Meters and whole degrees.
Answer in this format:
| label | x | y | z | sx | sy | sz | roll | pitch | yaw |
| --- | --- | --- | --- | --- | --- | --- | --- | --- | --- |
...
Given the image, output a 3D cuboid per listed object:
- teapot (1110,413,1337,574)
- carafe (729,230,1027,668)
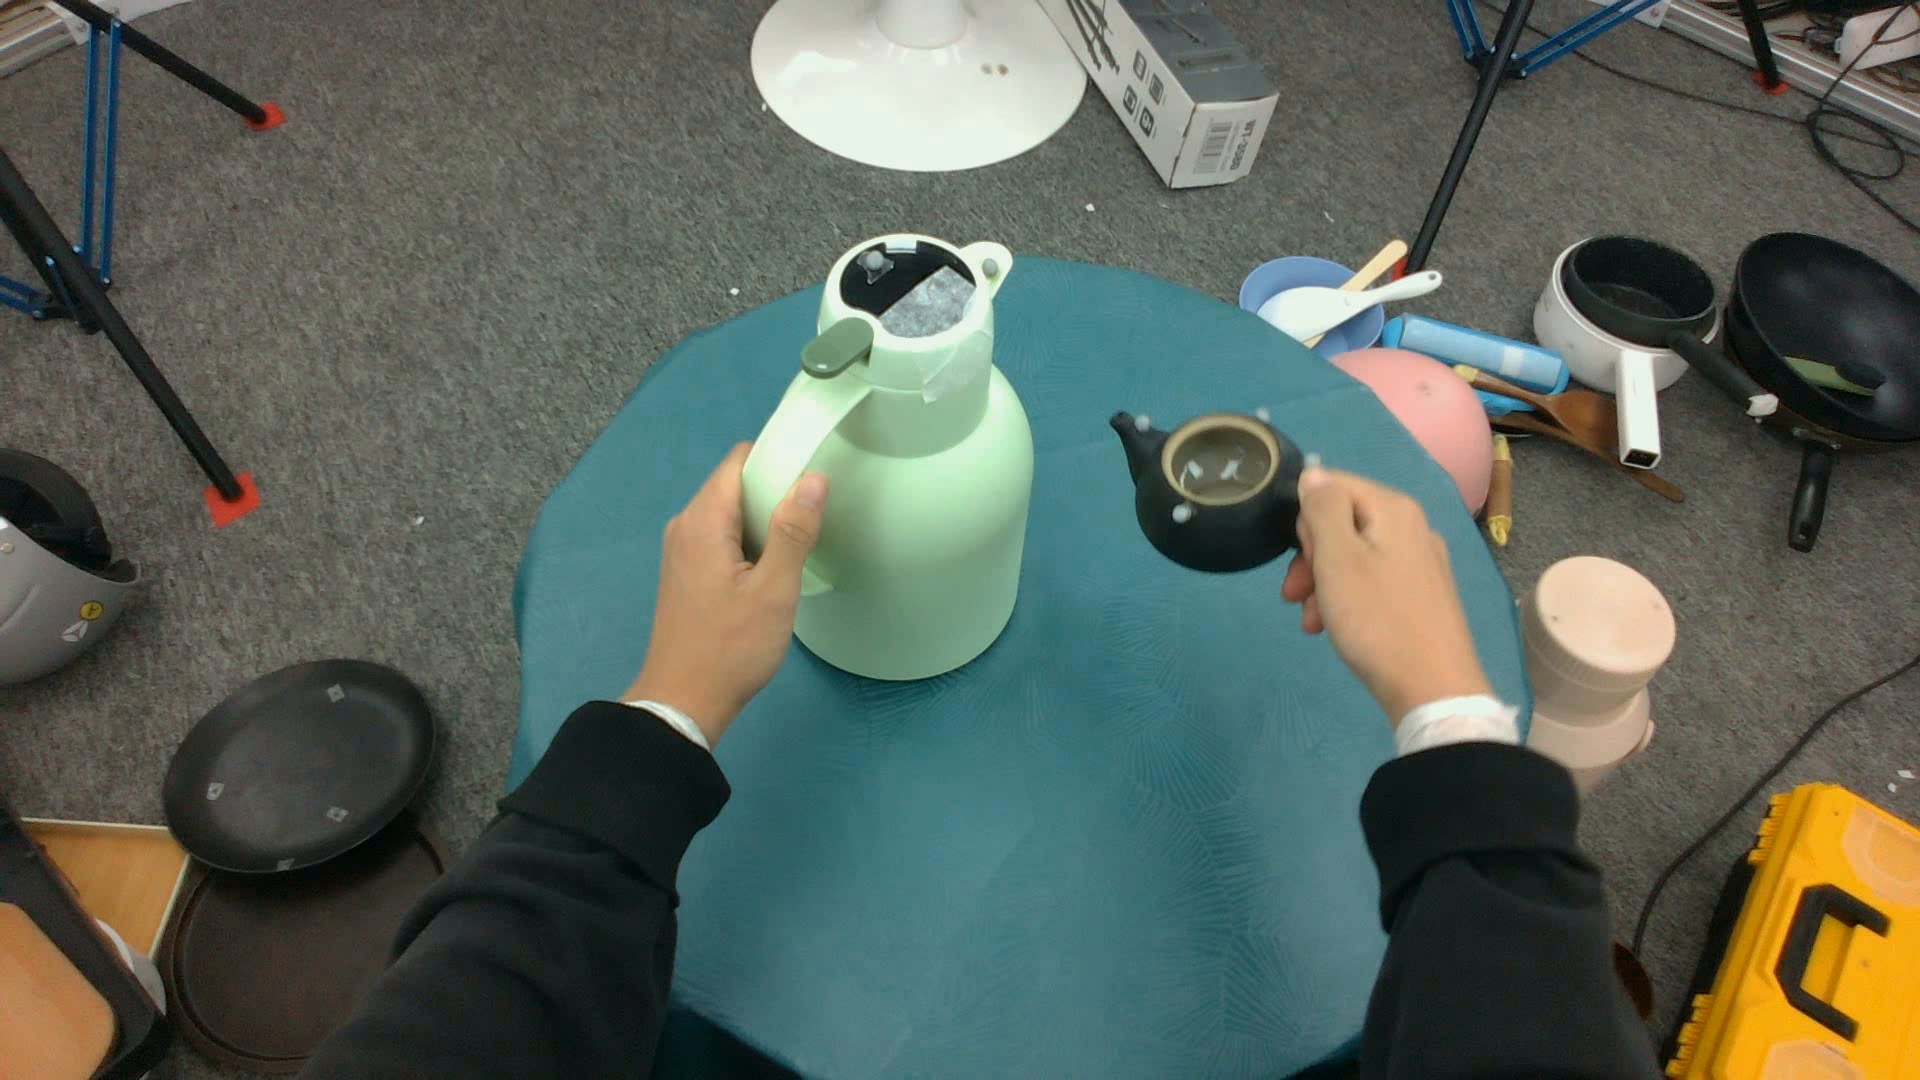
| label | x | y | z | sx | sy | sz | roll | pitch | yaw |
| --- | --- | --- | --- | --- | --- | --- | --- | --- | --- |
| teapot | 0.135 | -0.024 | 0.715 | 0.133 | 0.053 | 0.091 | 28 | 66 | 31 |
| carafe | -0.044 | -0.039 | 0.725 | 0.144 | 0.255 | 0.187 | 35 | 63 | 17 |
